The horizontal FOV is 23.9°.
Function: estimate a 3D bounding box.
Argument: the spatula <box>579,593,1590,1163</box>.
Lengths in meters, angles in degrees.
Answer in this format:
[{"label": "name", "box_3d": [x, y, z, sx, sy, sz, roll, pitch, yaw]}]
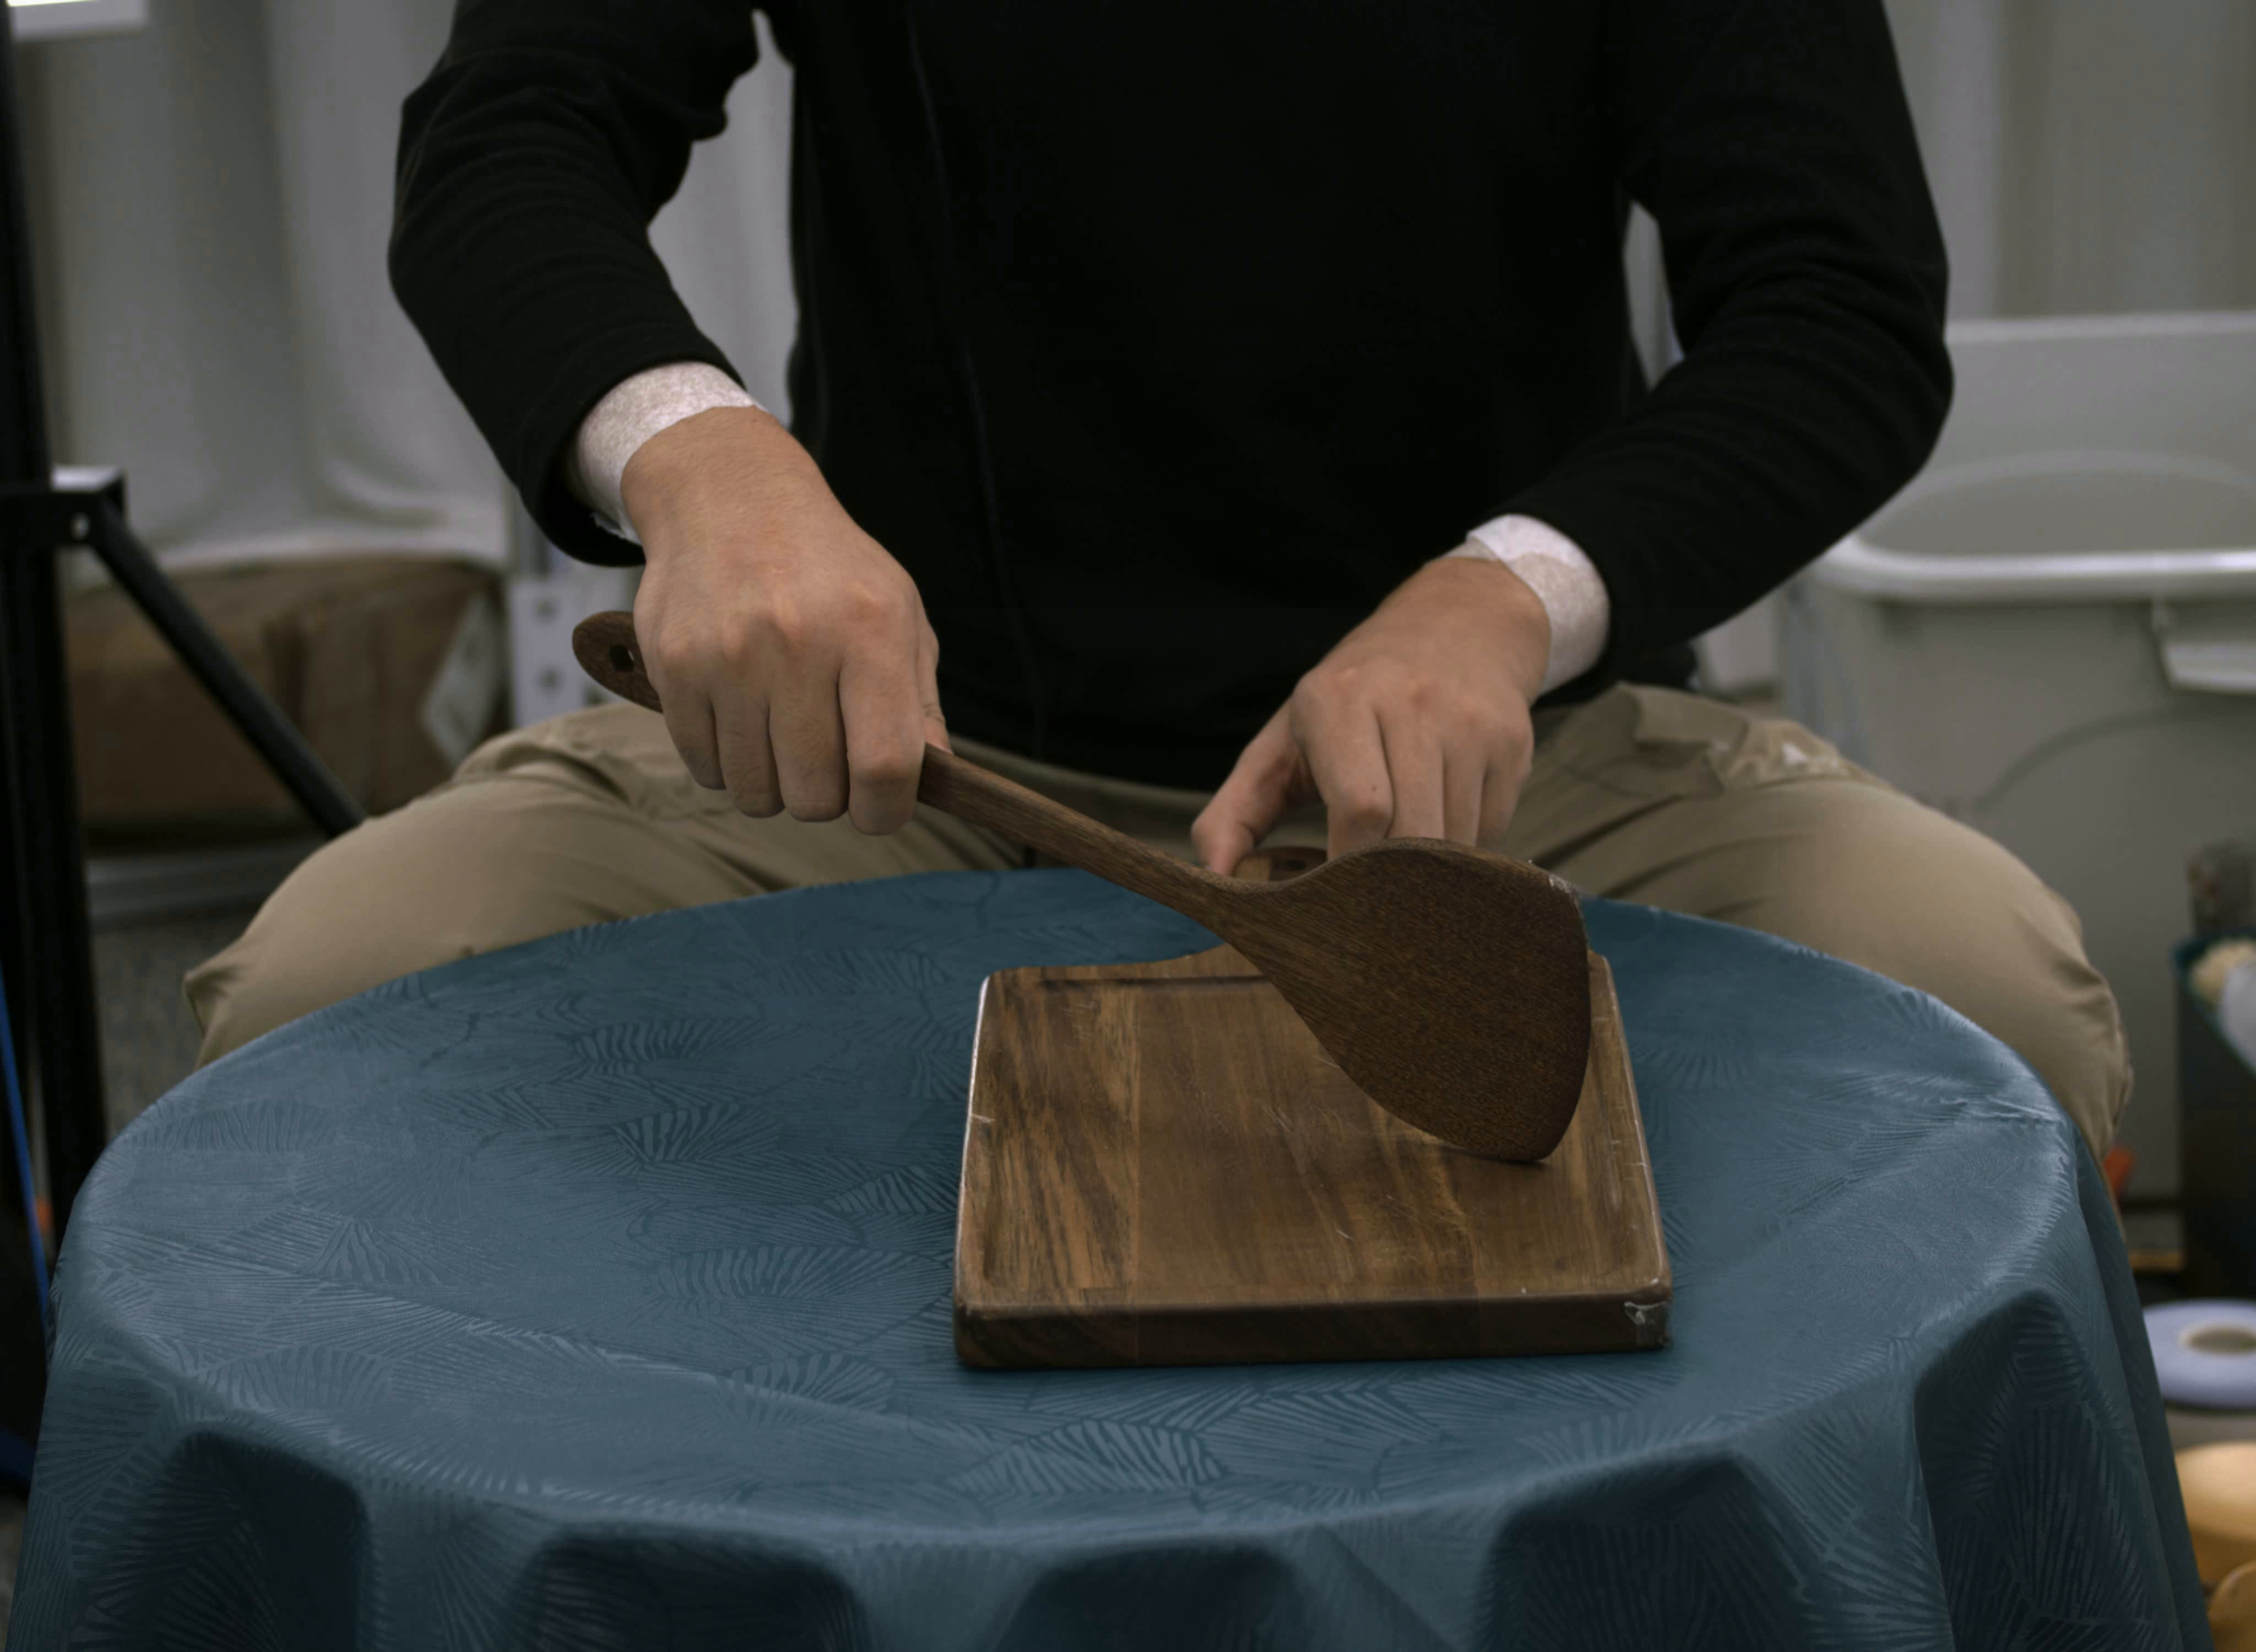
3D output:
[{"label": "spatula", "box_3d": [-0.022, -0.002, 1.579, 0.394, 0.096, 0.015, 23, 32, 35]}]

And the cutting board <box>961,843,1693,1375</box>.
[{"label": "cutting board", "box_3d": [0.052, 0.076, 1.578, 0.200, 0.023, 0.354, -2, 20, 1]}]
